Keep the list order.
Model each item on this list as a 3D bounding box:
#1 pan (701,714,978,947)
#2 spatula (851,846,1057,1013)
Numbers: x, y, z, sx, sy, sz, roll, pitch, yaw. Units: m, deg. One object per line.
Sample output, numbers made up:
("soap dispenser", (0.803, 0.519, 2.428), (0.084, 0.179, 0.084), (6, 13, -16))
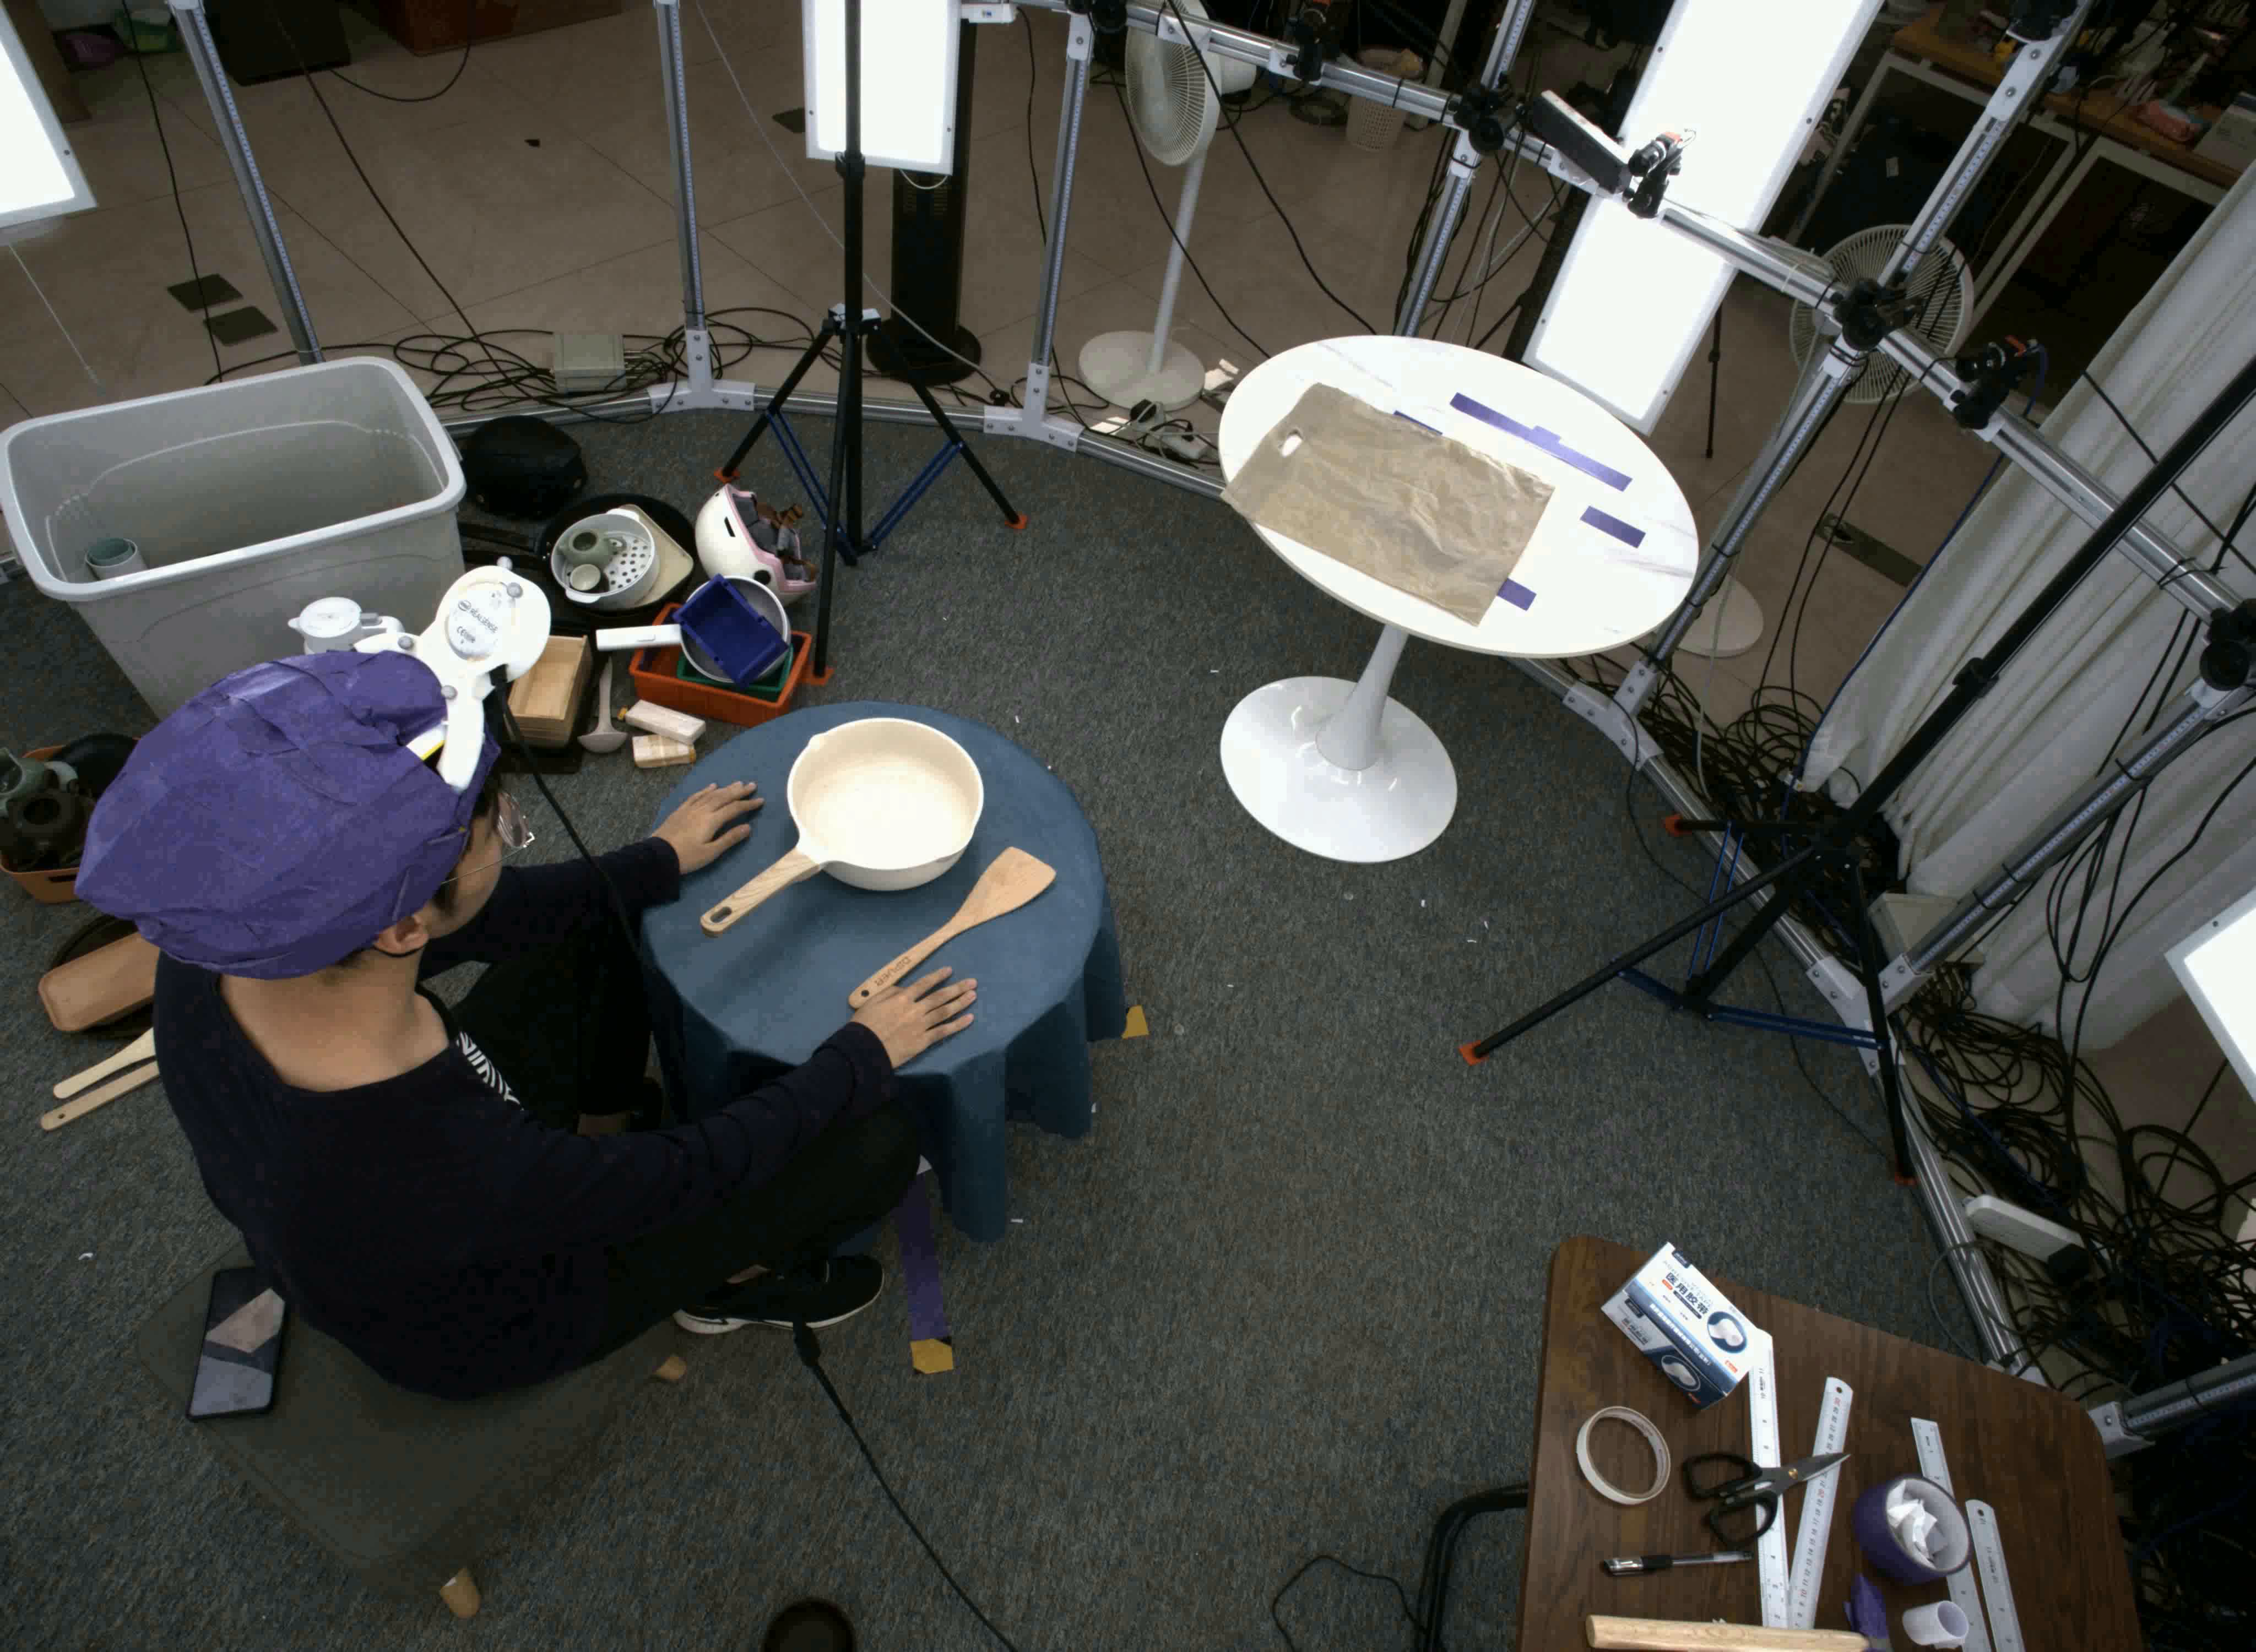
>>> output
("pan", (-0.375, 0.025, 1.652), (0.258, 0.104, 0.434), (35, 54, 12))
("spatula", (-0.227, 0.130, 1.665), (0.078, 0.017, 0.328), (40, 55, 16))
